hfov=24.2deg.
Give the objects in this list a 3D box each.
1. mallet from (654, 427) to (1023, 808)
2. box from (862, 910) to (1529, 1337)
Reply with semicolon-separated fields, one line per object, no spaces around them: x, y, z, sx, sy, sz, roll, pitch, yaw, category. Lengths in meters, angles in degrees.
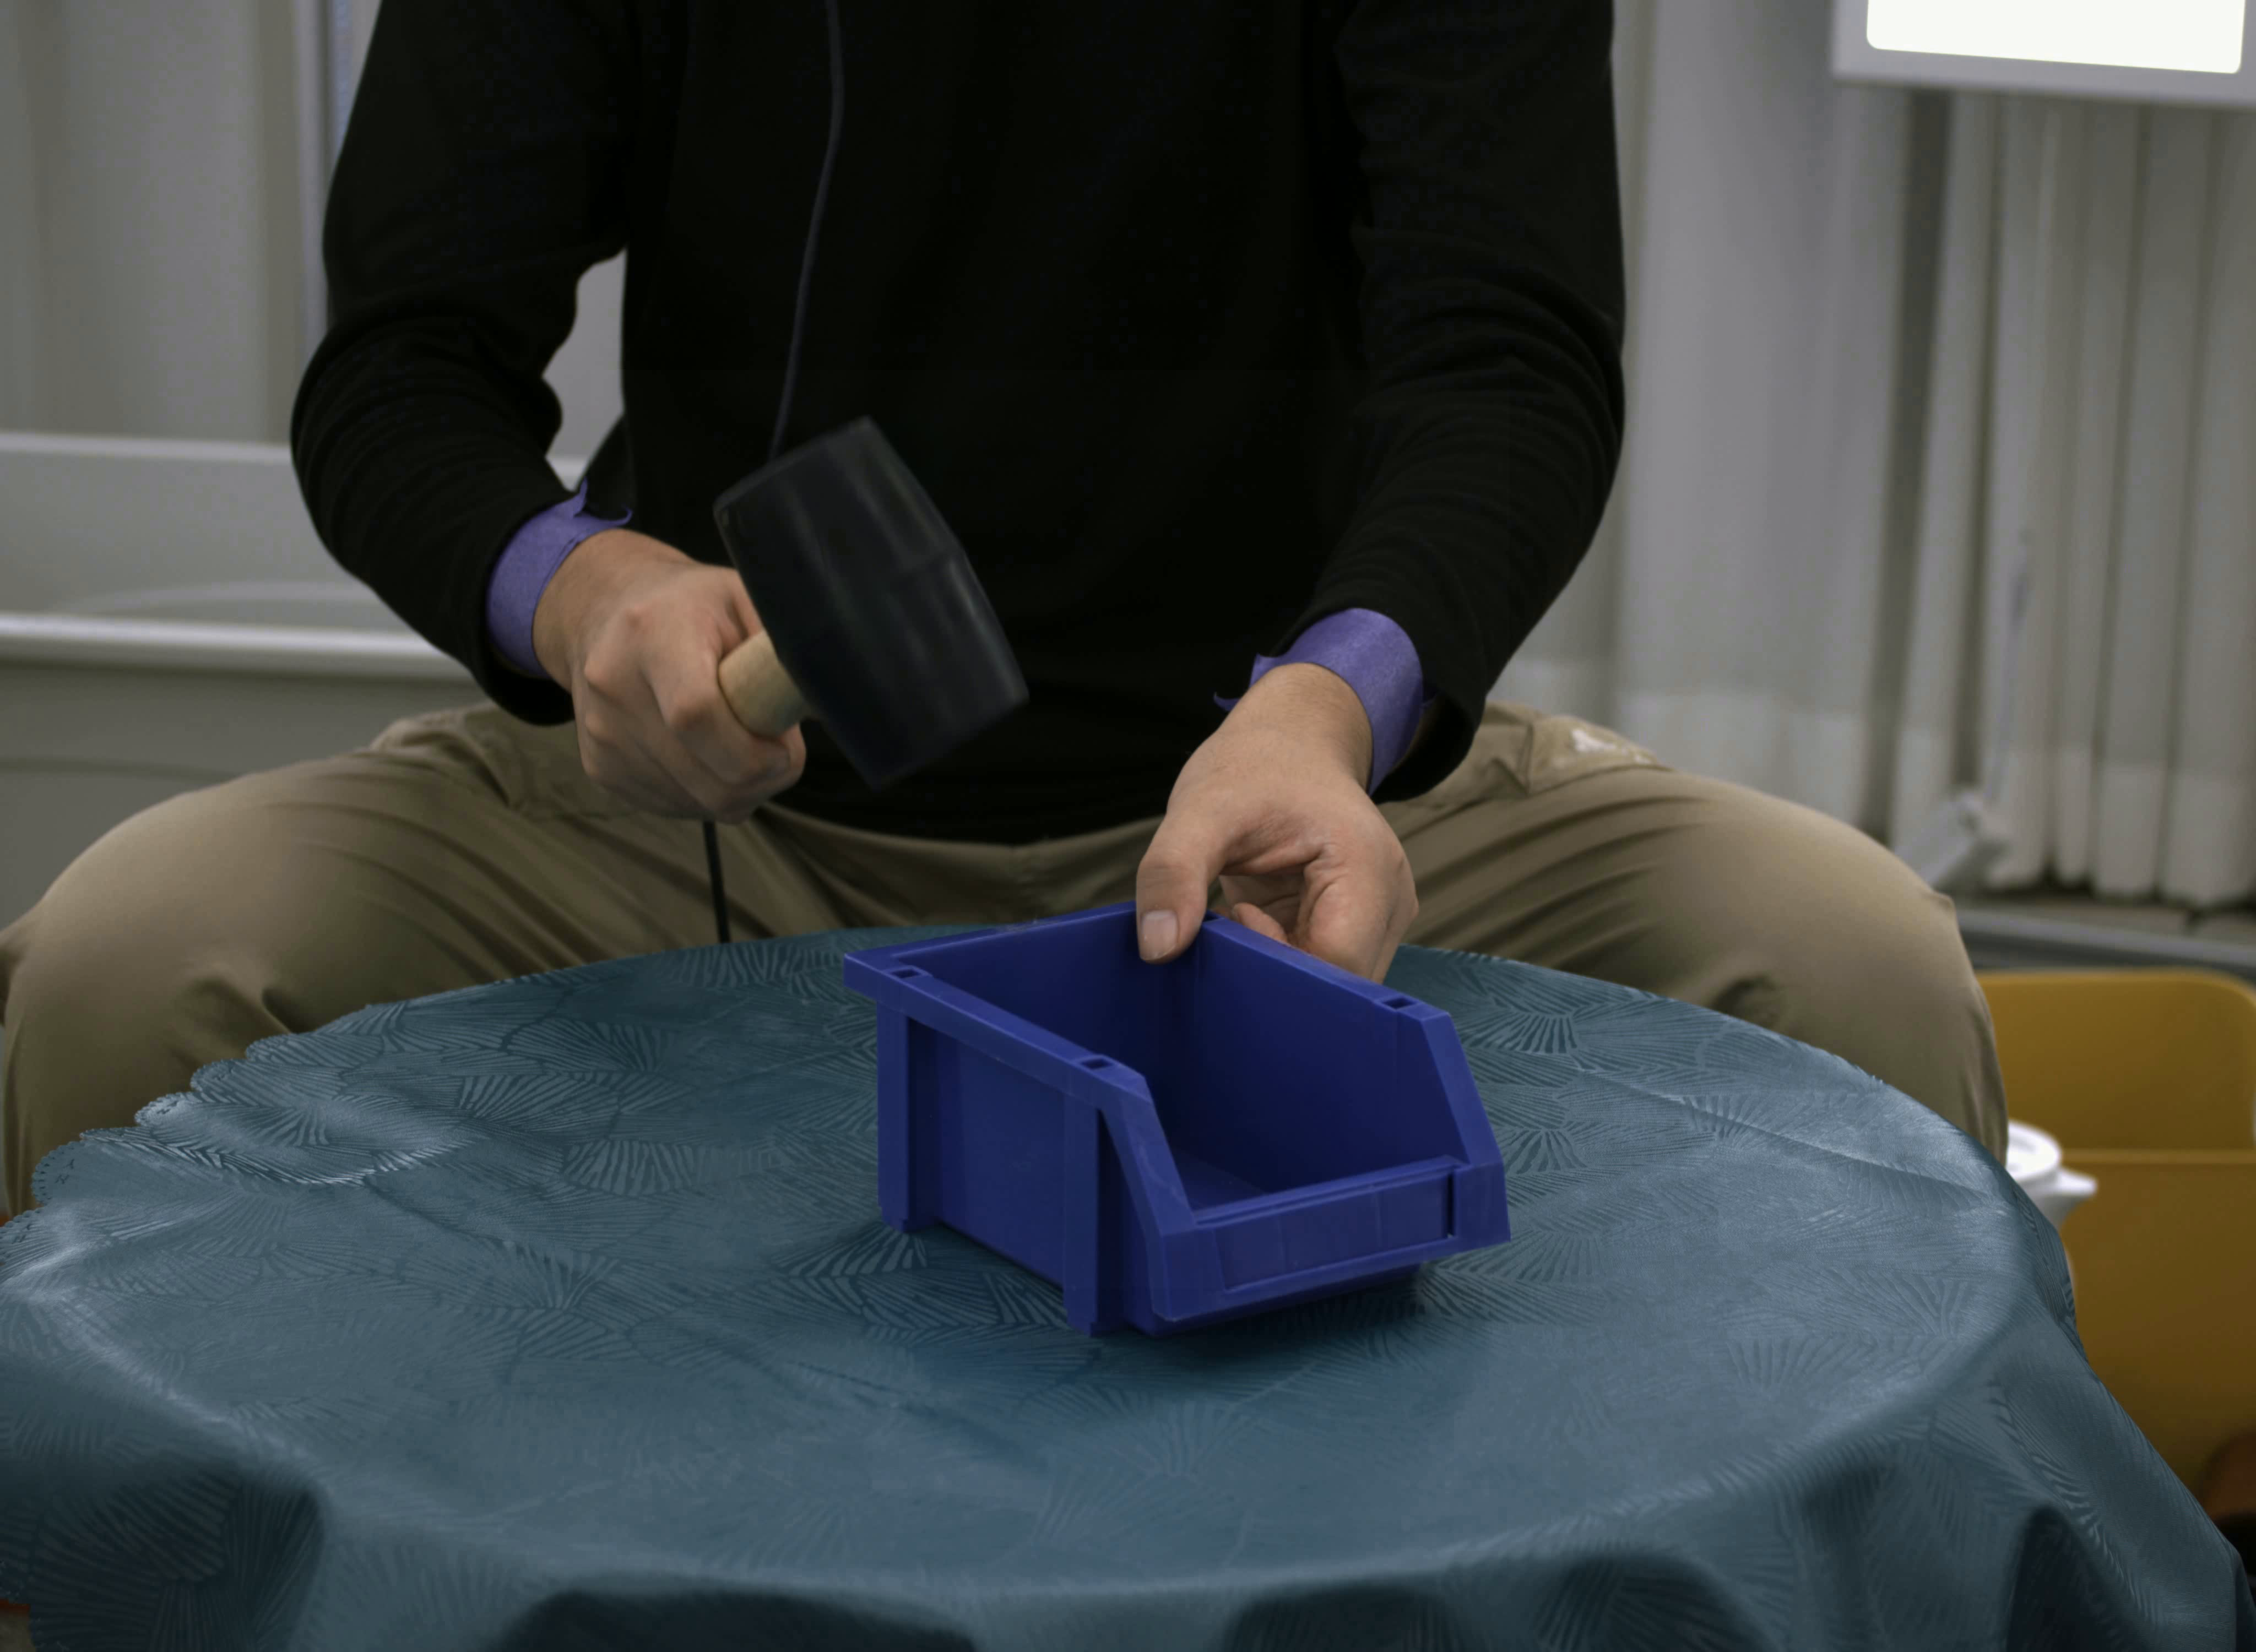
-0.105;-0.049;1.698;0.064;0.102;0.338;-26;-1;-13;mallet
0.020;0.089;1.554;0.125;0.082;0.177;-10;15;-31;box
